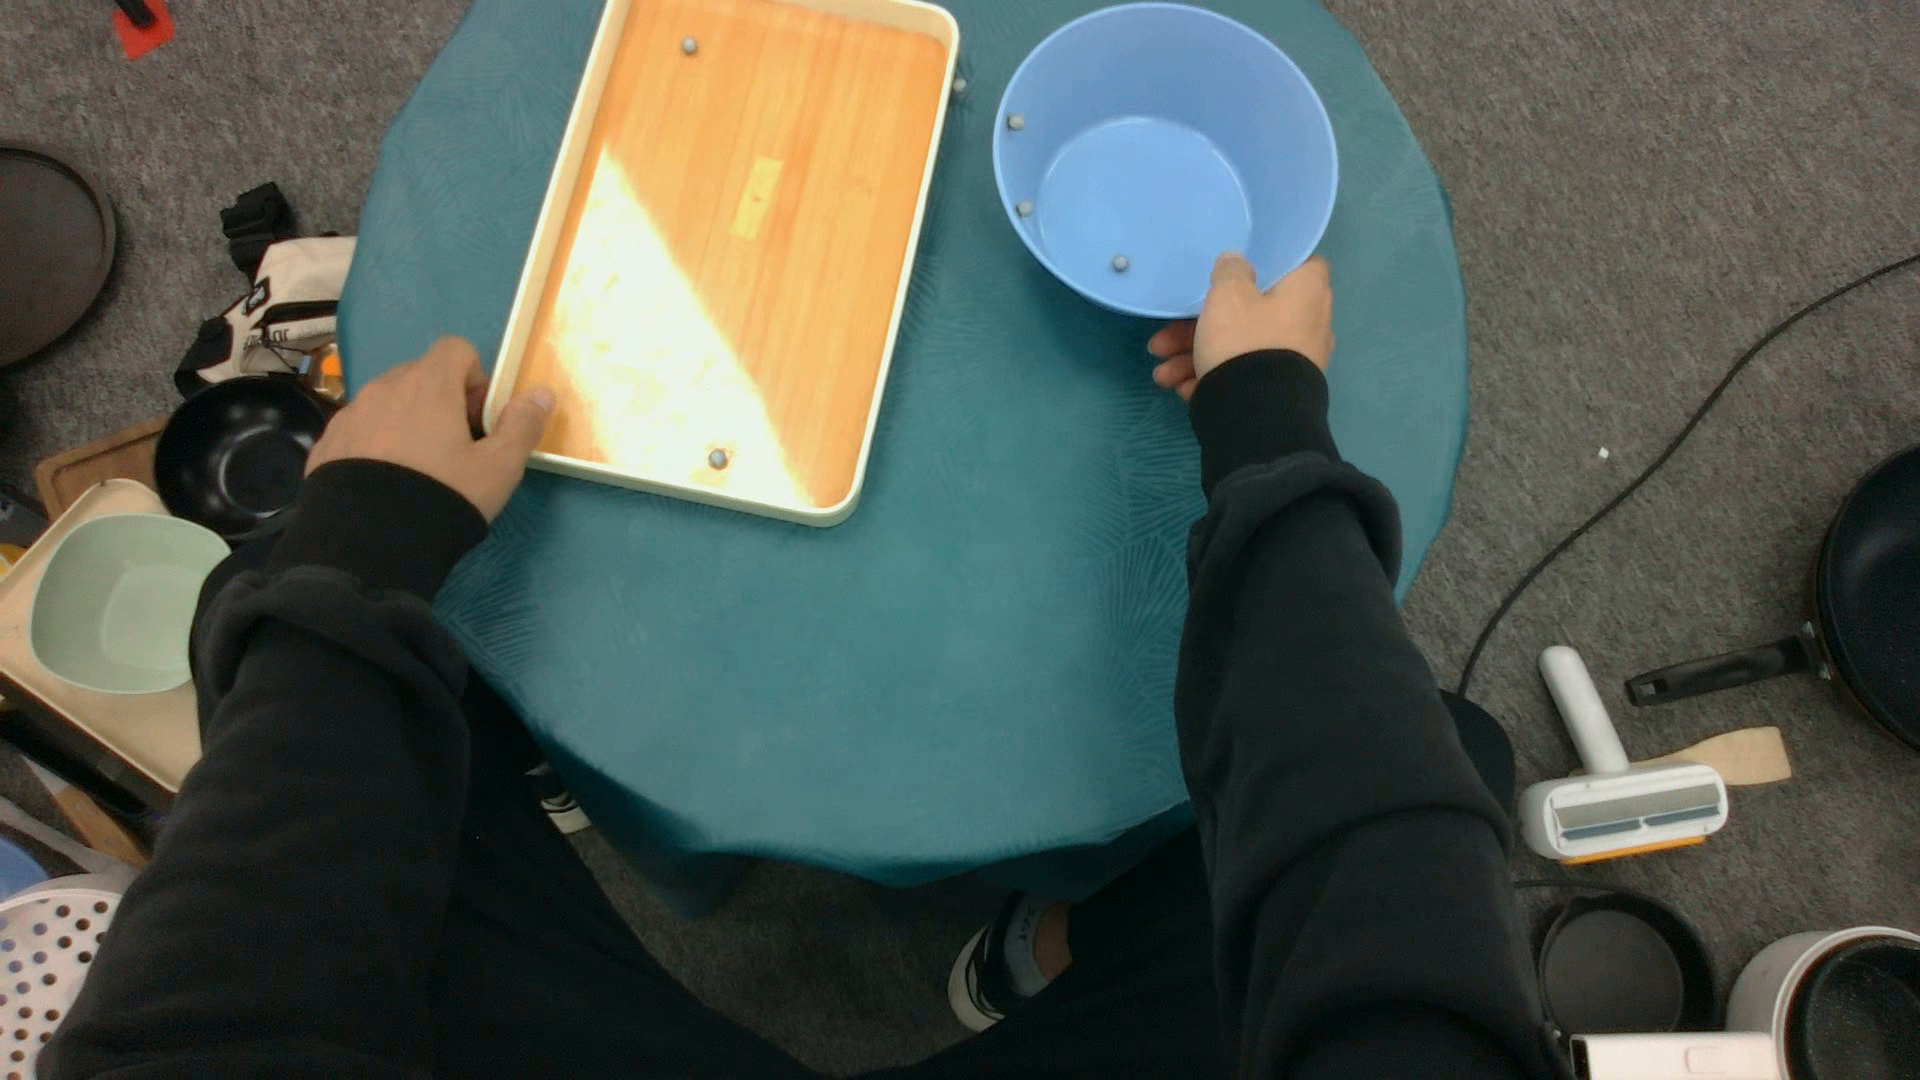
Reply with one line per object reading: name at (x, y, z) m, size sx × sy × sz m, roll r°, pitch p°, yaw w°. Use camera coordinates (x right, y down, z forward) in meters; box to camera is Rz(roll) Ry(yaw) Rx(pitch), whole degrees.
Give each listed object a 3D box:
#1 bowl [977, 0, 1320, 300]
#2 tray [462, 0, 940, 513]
bowl at (0.094, -0.195, 0.728) m, size 0.176 × 0.070 × 0.176 m, roll 1°, pitch 74°, yaw -3°
tray at (-0.129, -0.172, 0.727) m, size 0.191 × 0.027 × 0.301 m, roll 12°, pitch 74°, yaw -2°
